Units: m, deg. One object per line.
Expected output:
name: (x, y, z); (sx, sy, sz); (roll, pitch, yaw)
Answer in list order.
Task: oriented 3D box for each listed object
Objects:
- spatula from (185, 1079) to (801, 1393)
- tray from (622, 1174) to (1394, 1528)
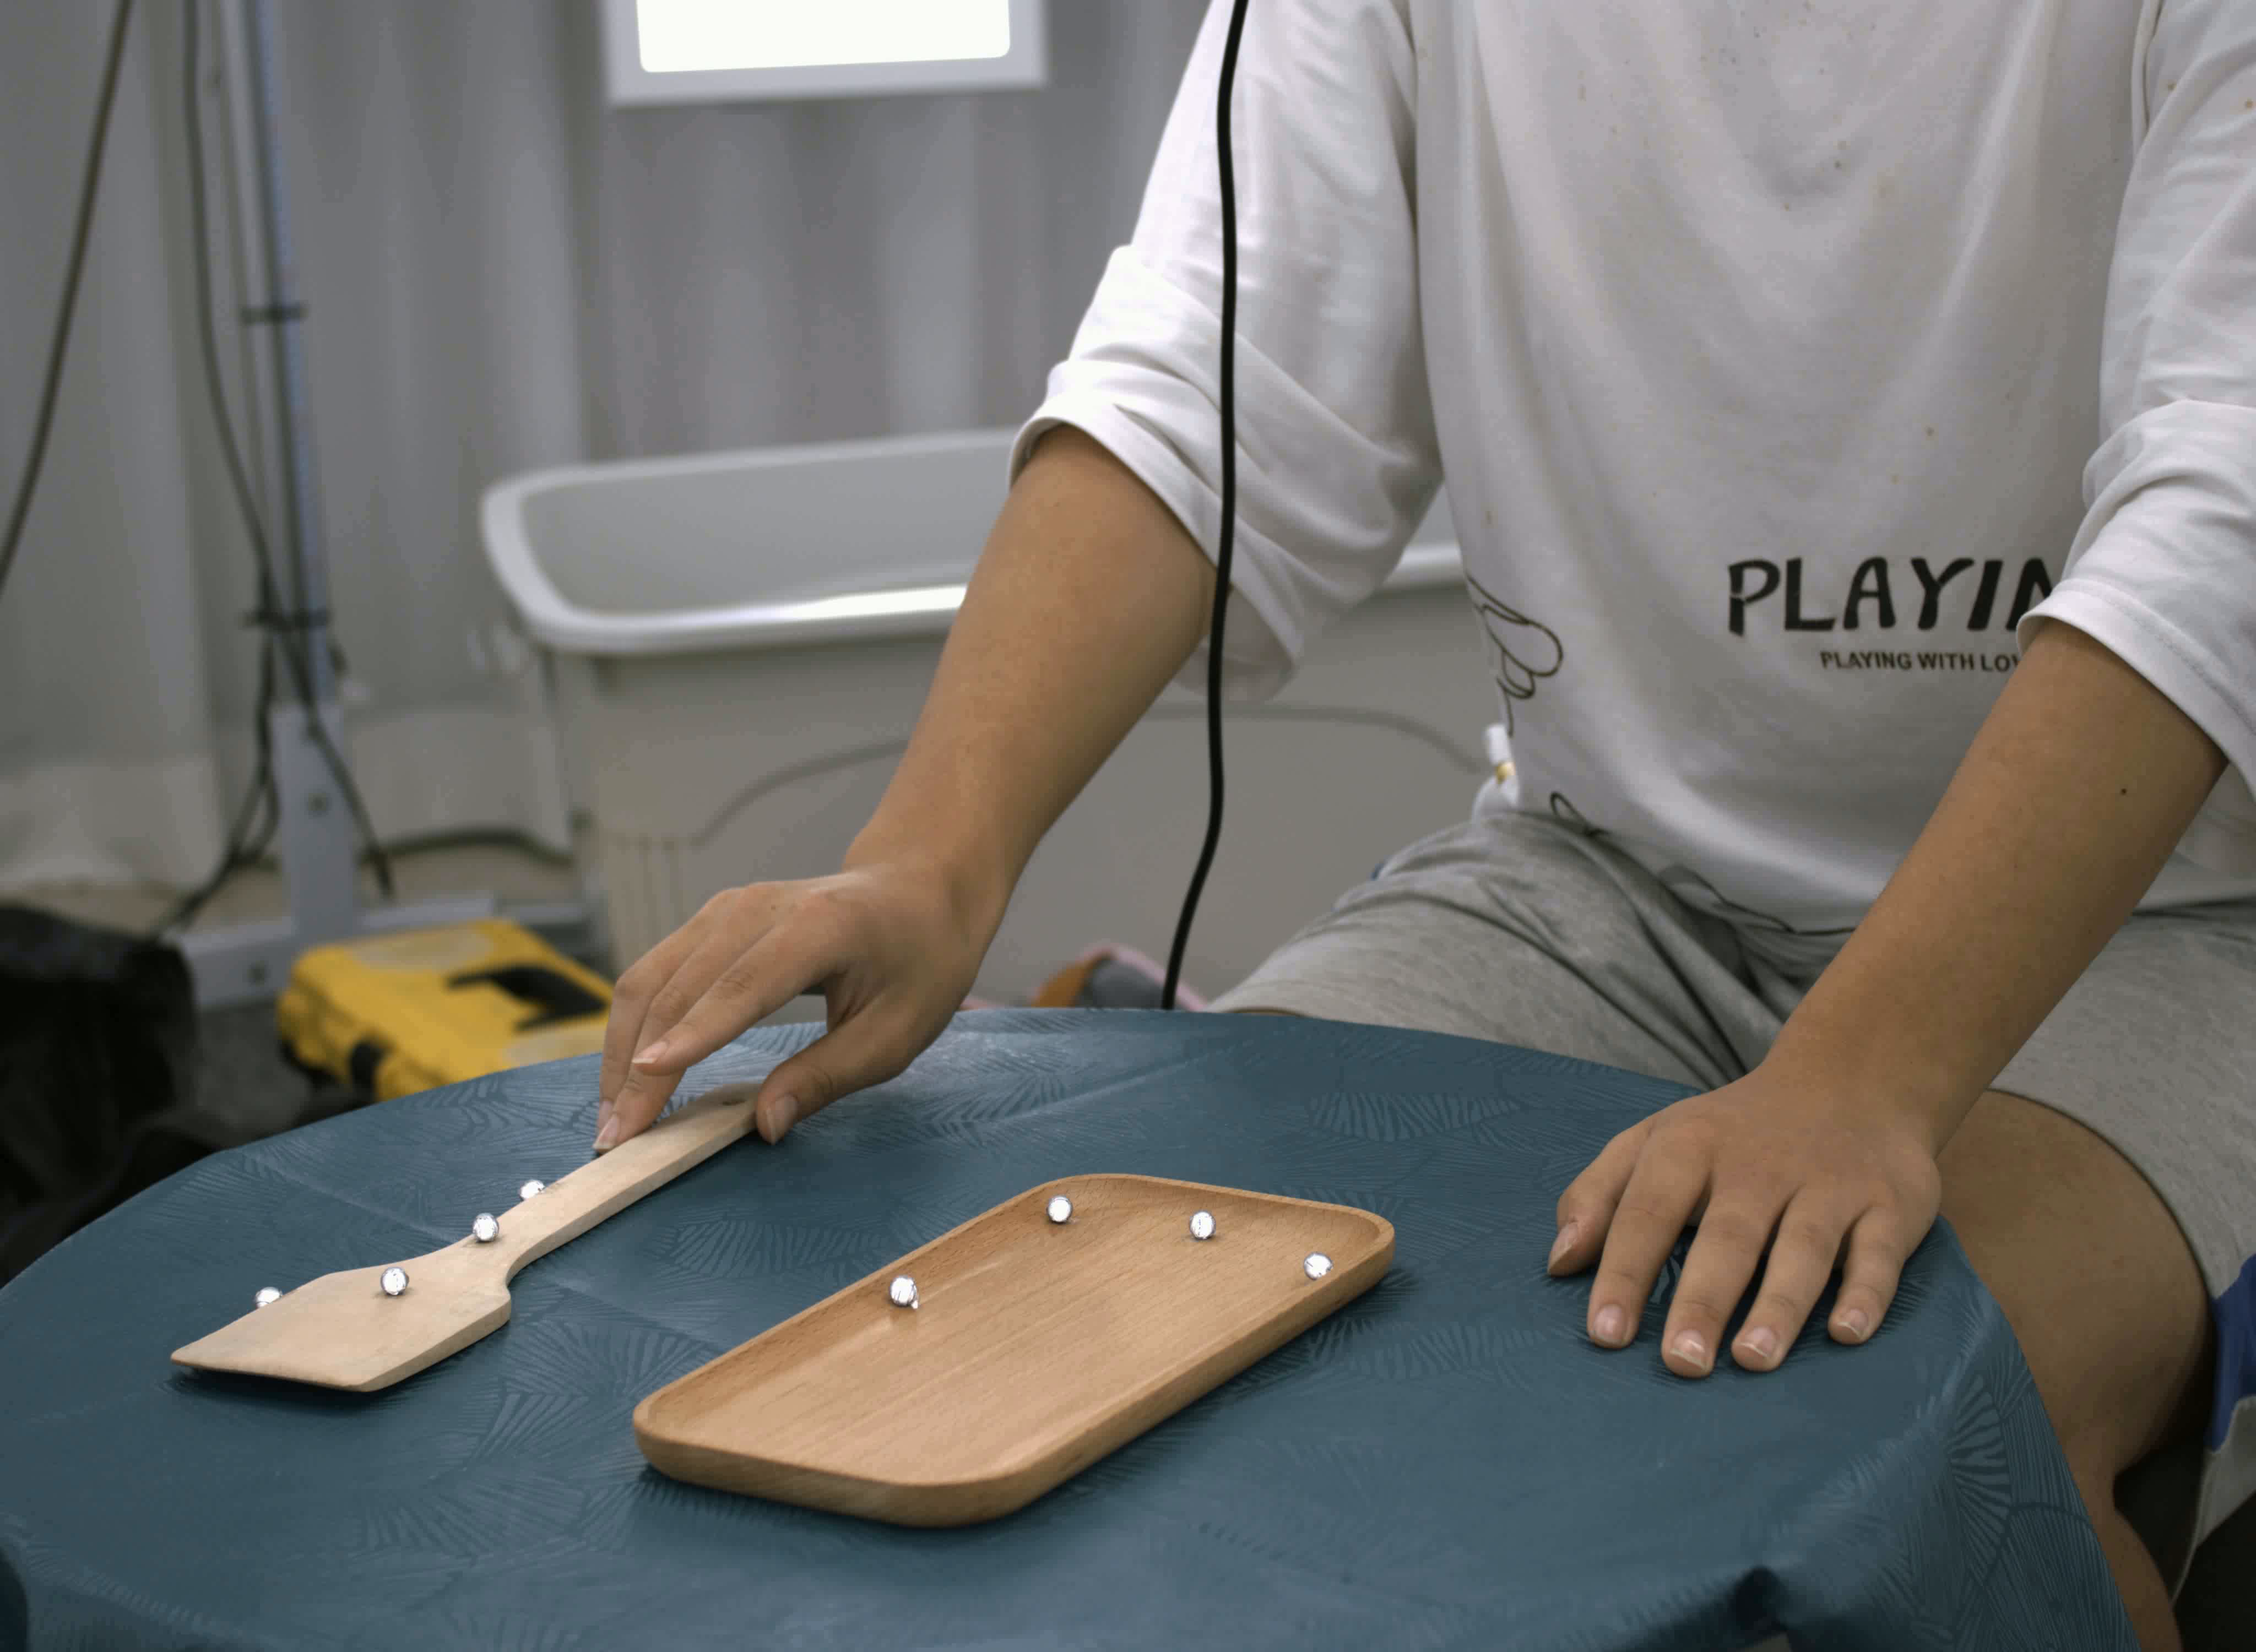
spatula: (-0.183, 0.124, 1.698); (0.072, 0.010, 0.293); (4, 16, 26)
tray: (-0.030, 0.148, 1.567); (0.131, 0.023, 0.251); (4, 16, 33)
